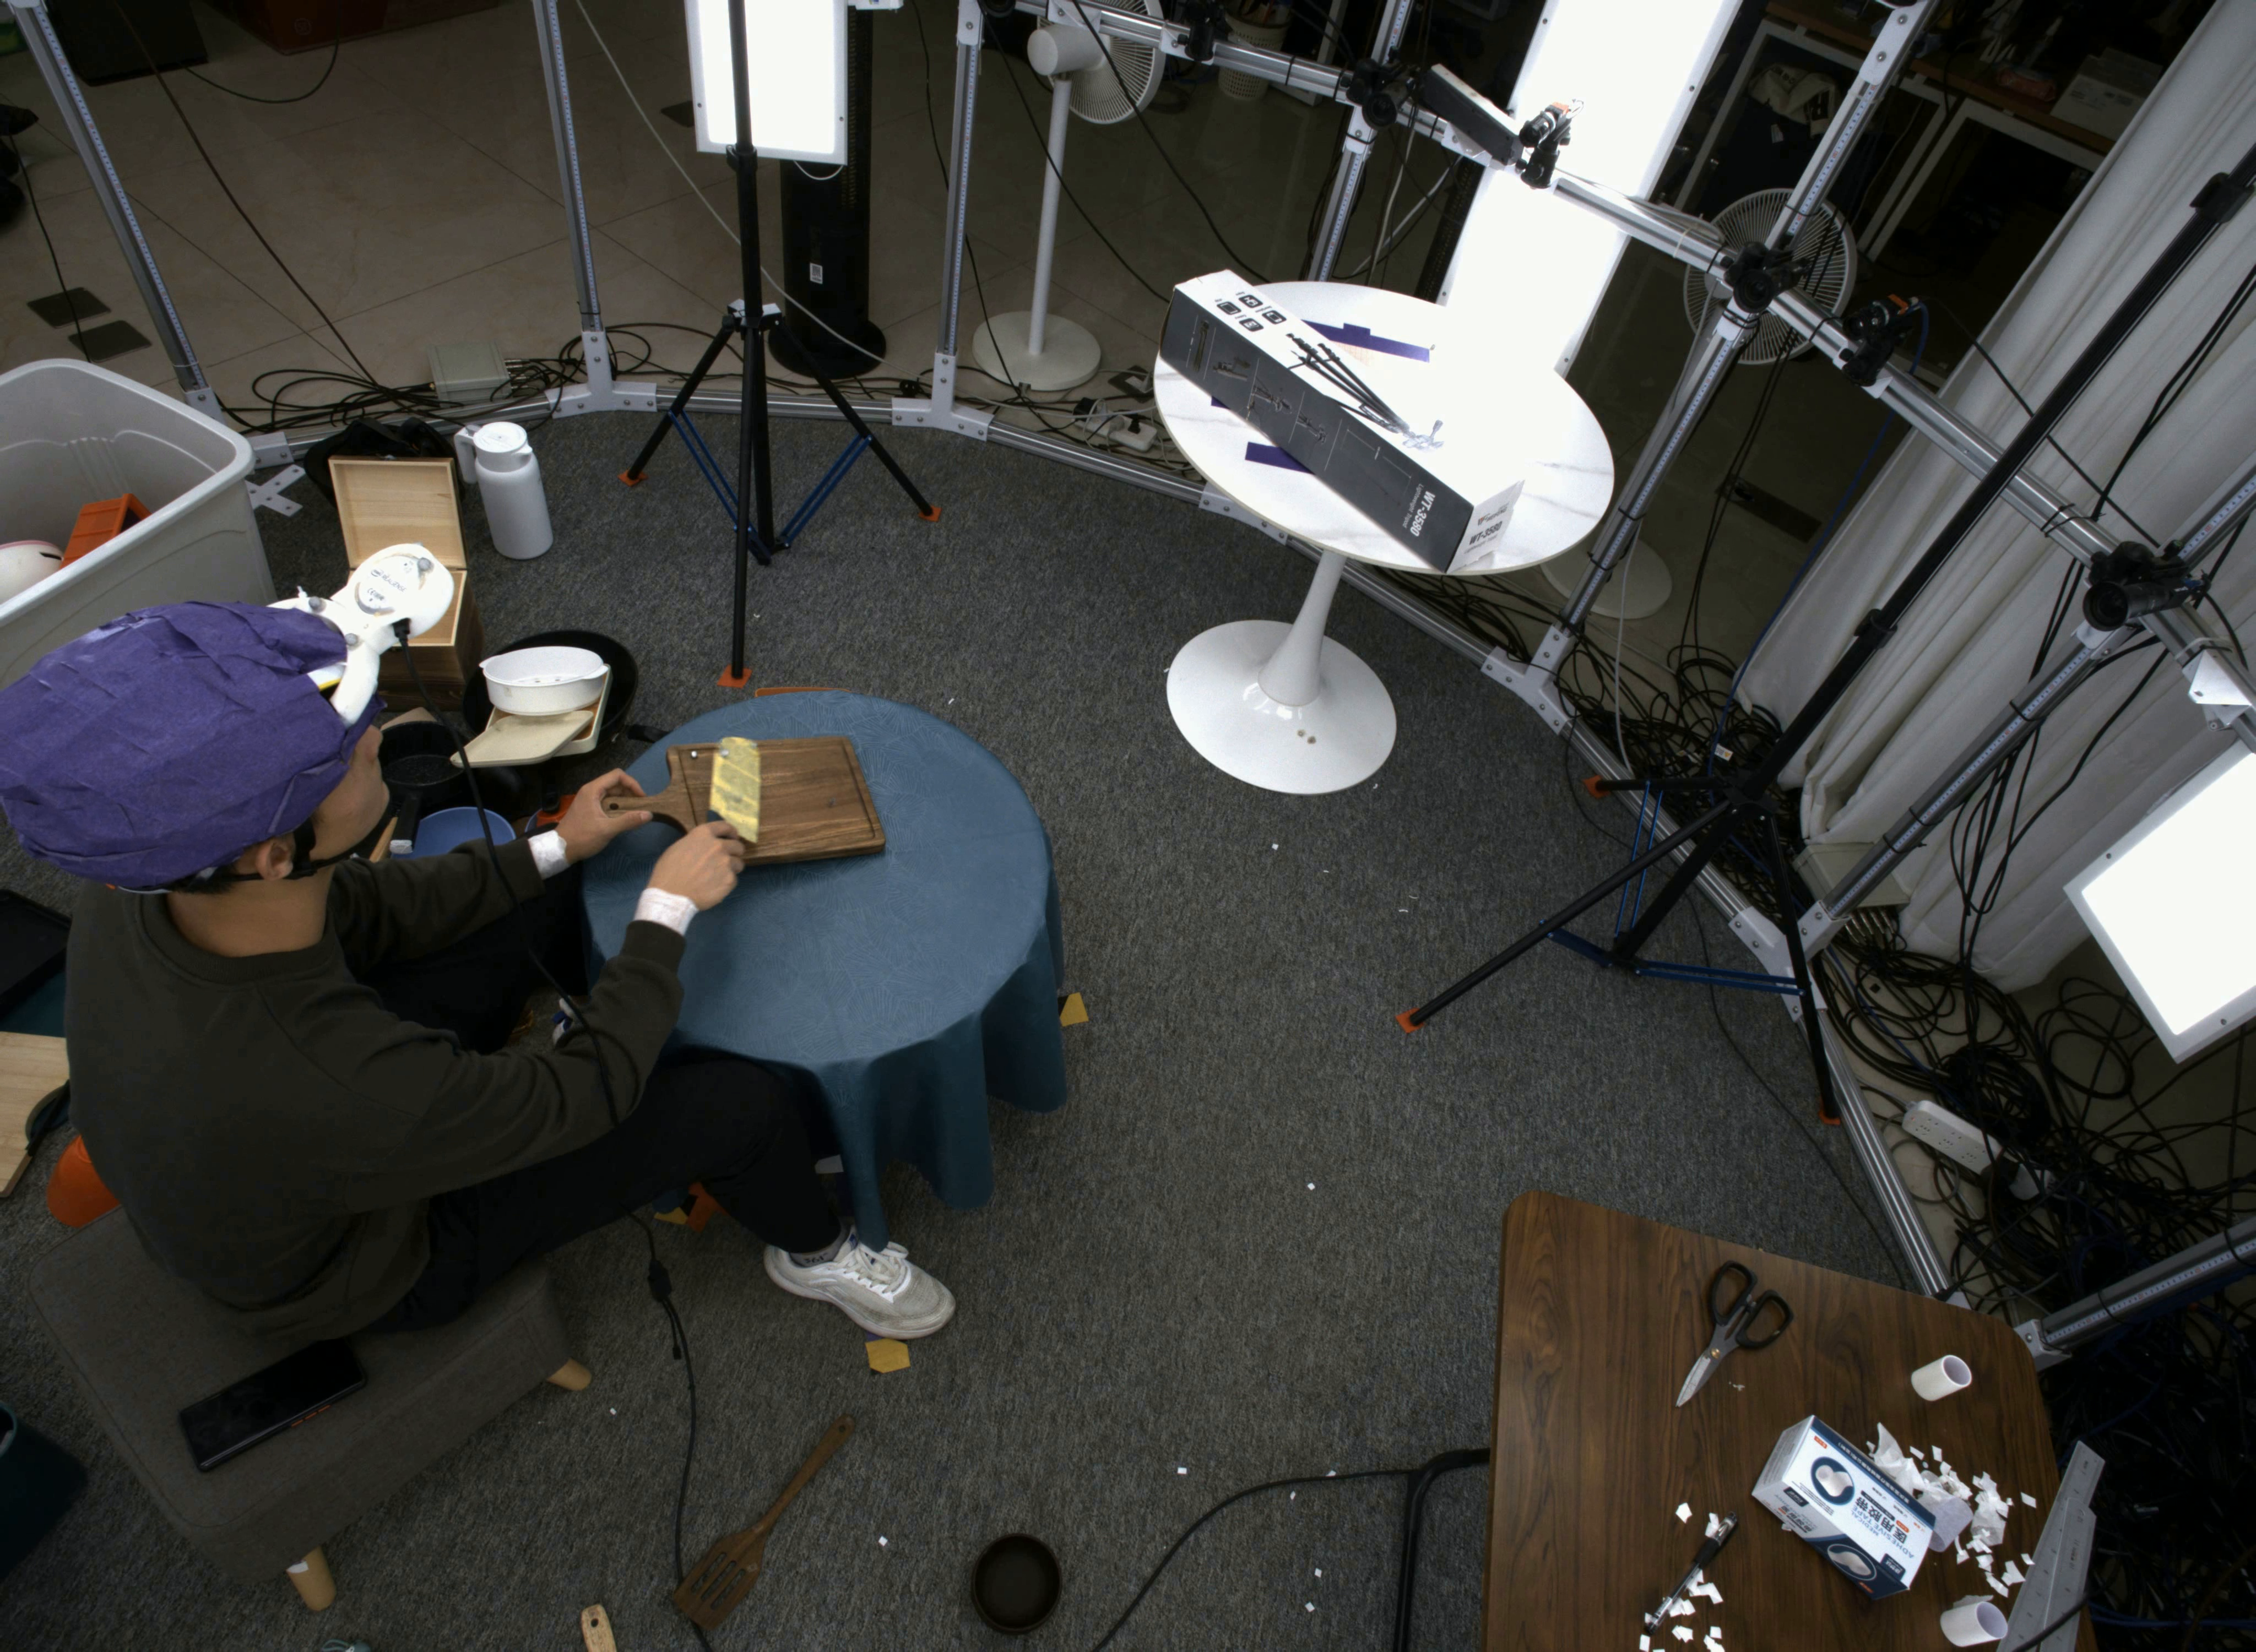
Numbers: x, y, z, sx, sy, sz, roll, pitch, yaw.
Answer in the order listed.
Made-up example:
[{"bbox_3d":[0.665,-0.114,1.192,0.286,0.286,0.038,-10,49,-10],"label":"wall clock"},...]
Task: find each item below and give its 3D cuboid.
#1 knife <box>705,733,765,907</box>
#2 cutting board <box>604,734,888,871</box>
[{"bbox_3d":[-0.488,-0.013,1.610,0.084,0.027,0.283,35,35,-38],"label":"knife"},{"bbox_3d":[-0.505,-0.033,1.683,0.356,0.023,0.196,-6,55,-32],"label":"cutting board"}]
